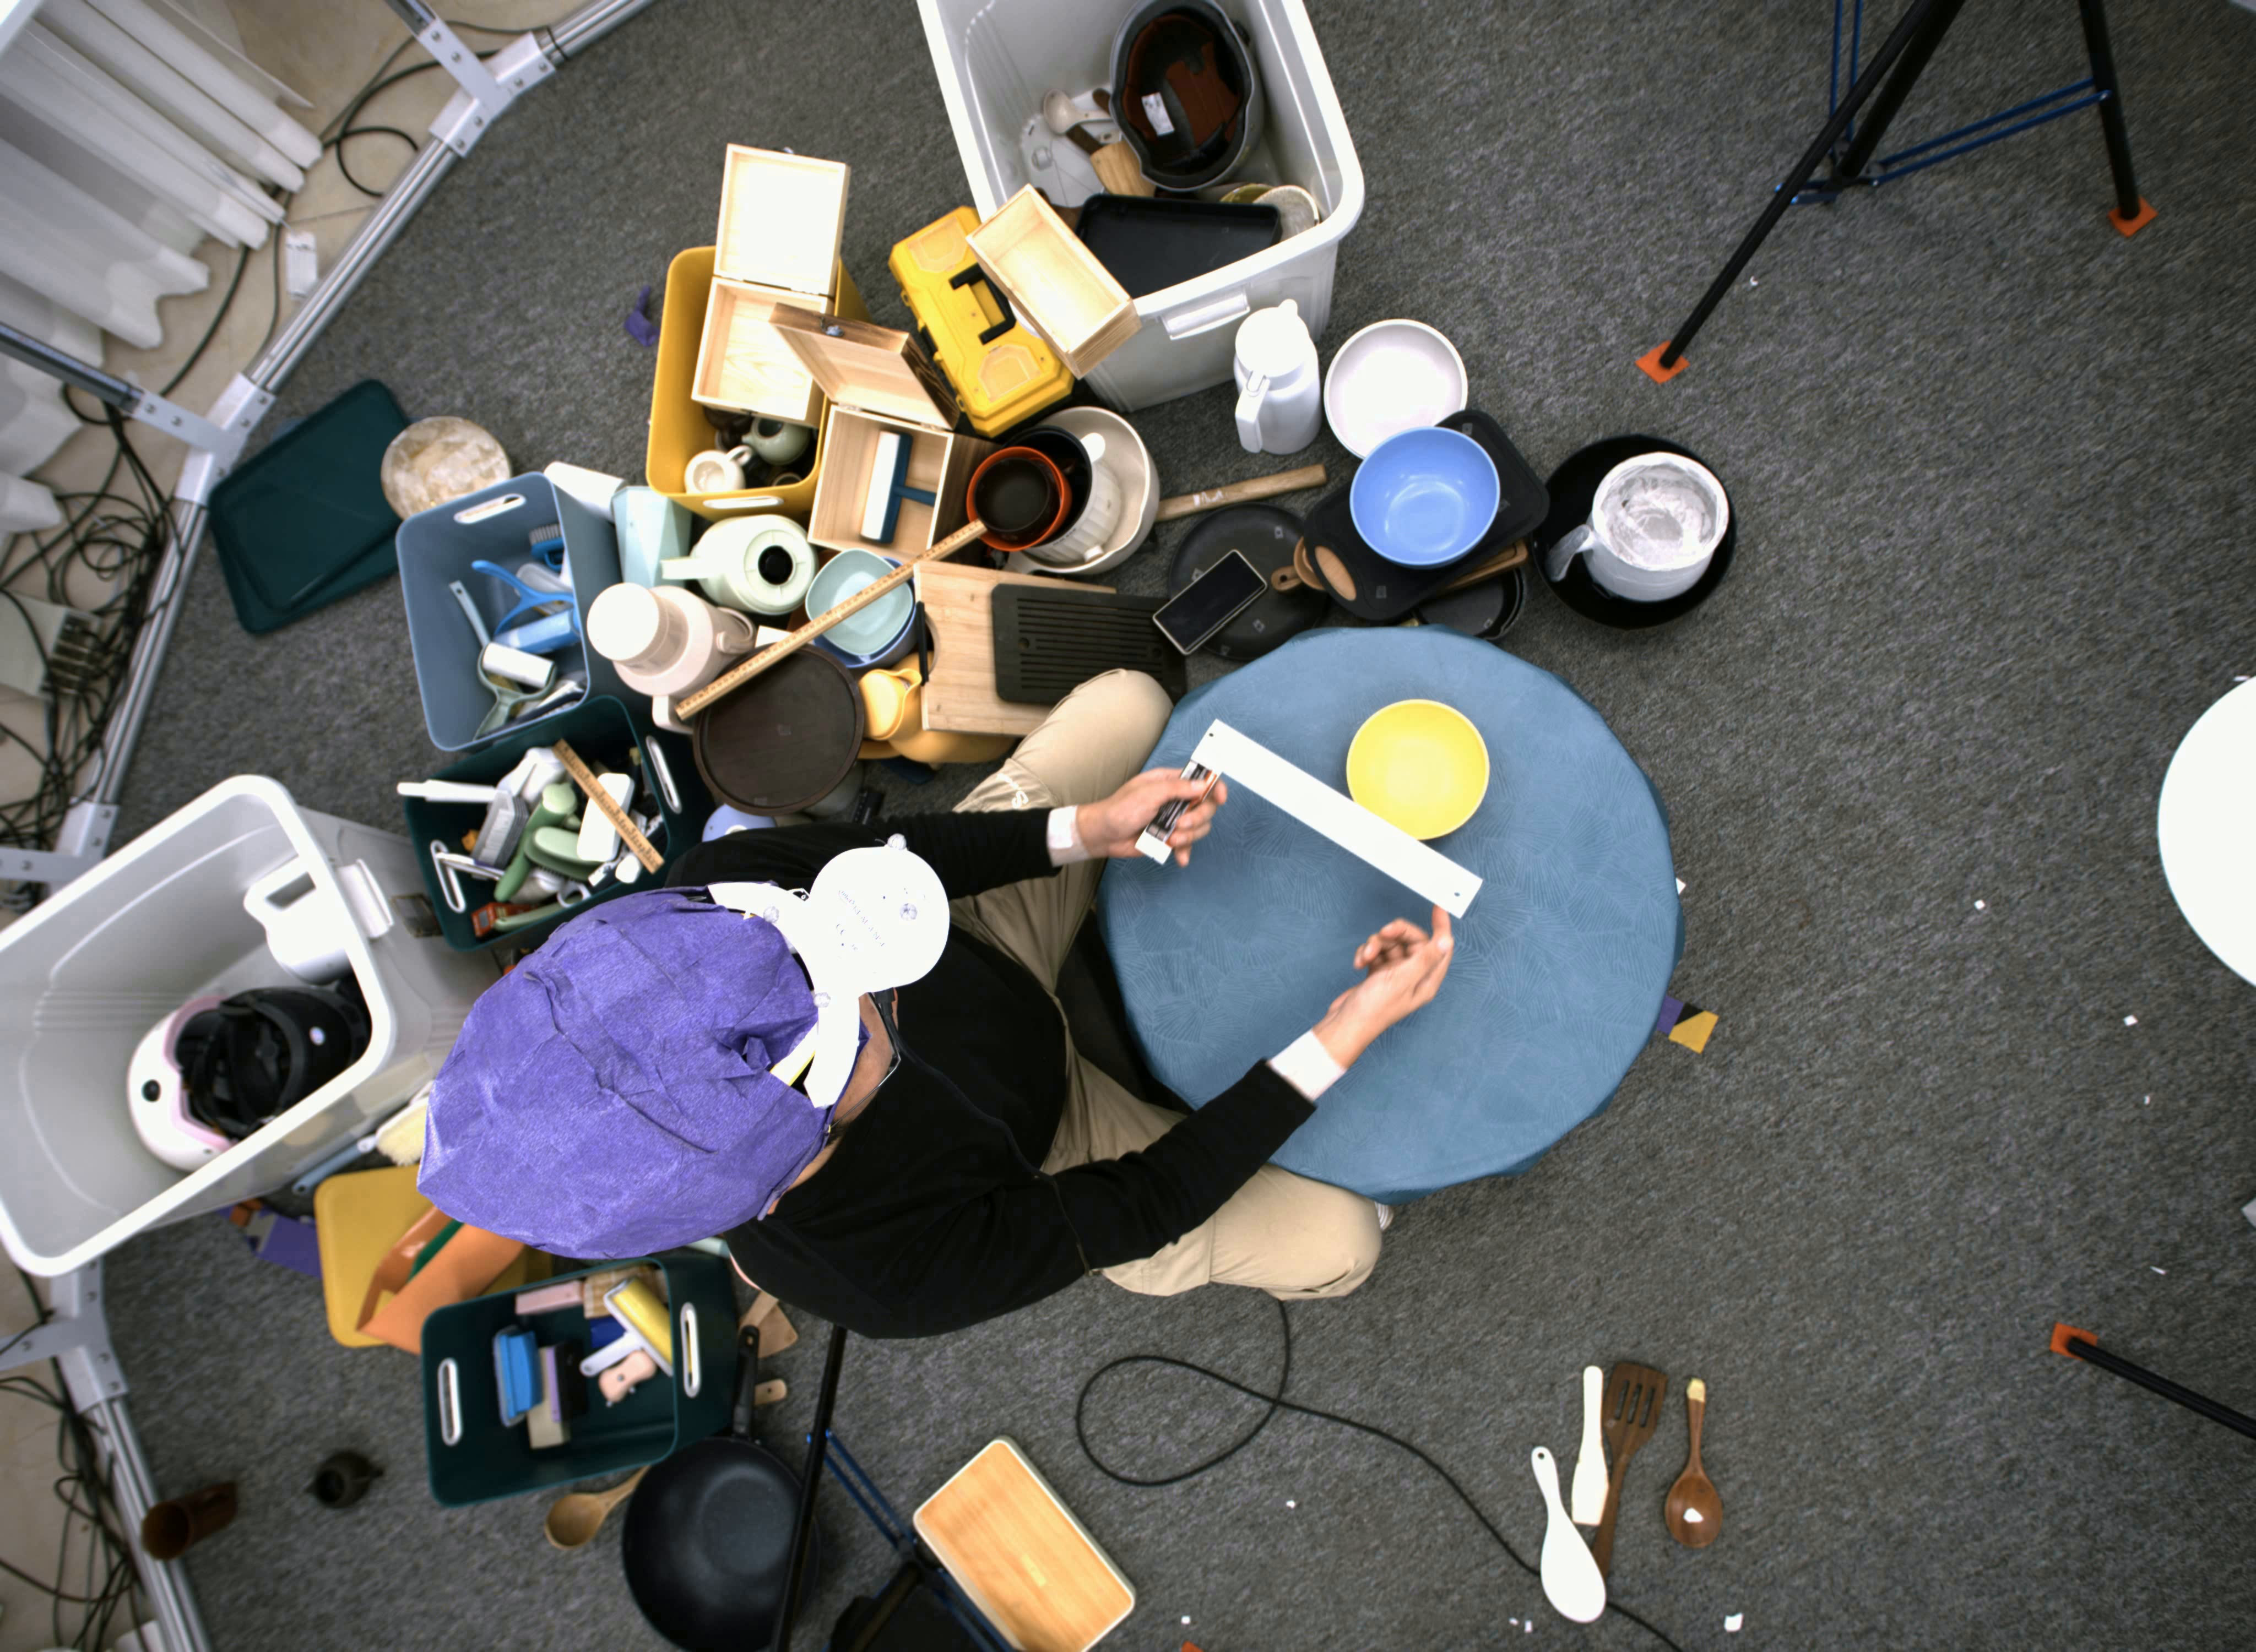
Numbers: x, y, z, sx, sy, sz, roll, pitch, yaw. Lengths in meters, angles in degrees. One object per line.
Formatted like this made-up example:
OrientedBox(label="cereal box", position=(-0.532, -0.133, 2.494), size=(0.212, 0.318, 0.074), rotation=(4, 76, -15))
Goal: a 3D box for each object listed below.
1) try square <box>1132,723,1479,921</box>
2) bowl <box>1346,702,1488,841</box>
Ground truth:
OrientedBox(label="try square", position=(0.173, 0.040, 1.371), size=(0.312, 0.016, 0.153), rotation=(32, 95, 6))
OrientedBox(label="bowl", position=(0.301, -0.054, 1.433), size=(0.146, 0.060, 0.144), rotation=(-2, 84, 13))
